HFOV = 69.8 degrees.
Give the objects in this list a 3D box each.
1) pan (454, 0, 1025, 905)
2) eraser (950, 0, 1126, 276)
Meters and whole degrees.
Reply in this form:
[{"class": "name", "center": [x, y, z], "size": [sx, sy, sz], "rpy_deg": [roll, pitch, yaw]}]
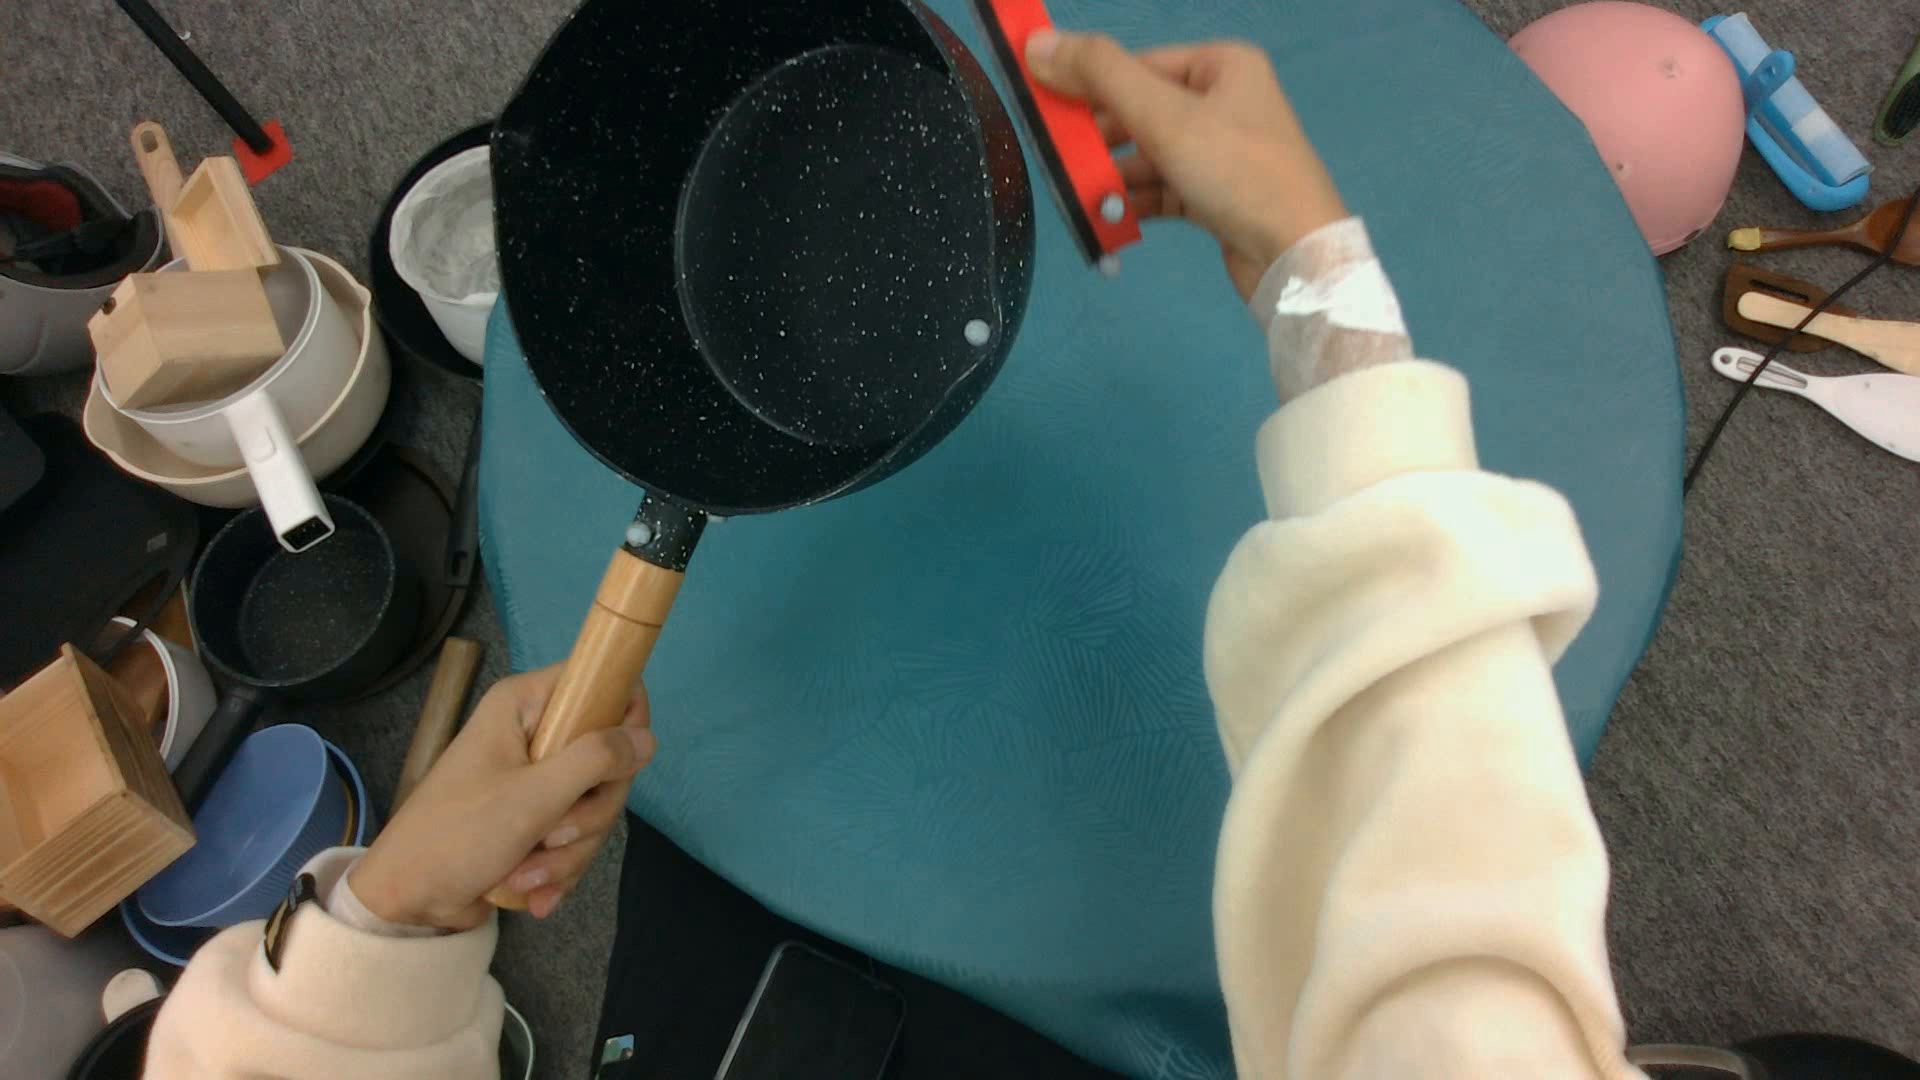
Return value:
[{"class": "pan", "center": [-0.092, -0.033, 0.487], "size": [0.207, 0.108, 0.342], "rpy_deg": [23, 103, 17]}, {"class": "eraser", "center": [0.028, -0.154, 0.506], "size": [0.023, 0.059, 0.108], "rpy_deg": [-25, 72, 8]}]
